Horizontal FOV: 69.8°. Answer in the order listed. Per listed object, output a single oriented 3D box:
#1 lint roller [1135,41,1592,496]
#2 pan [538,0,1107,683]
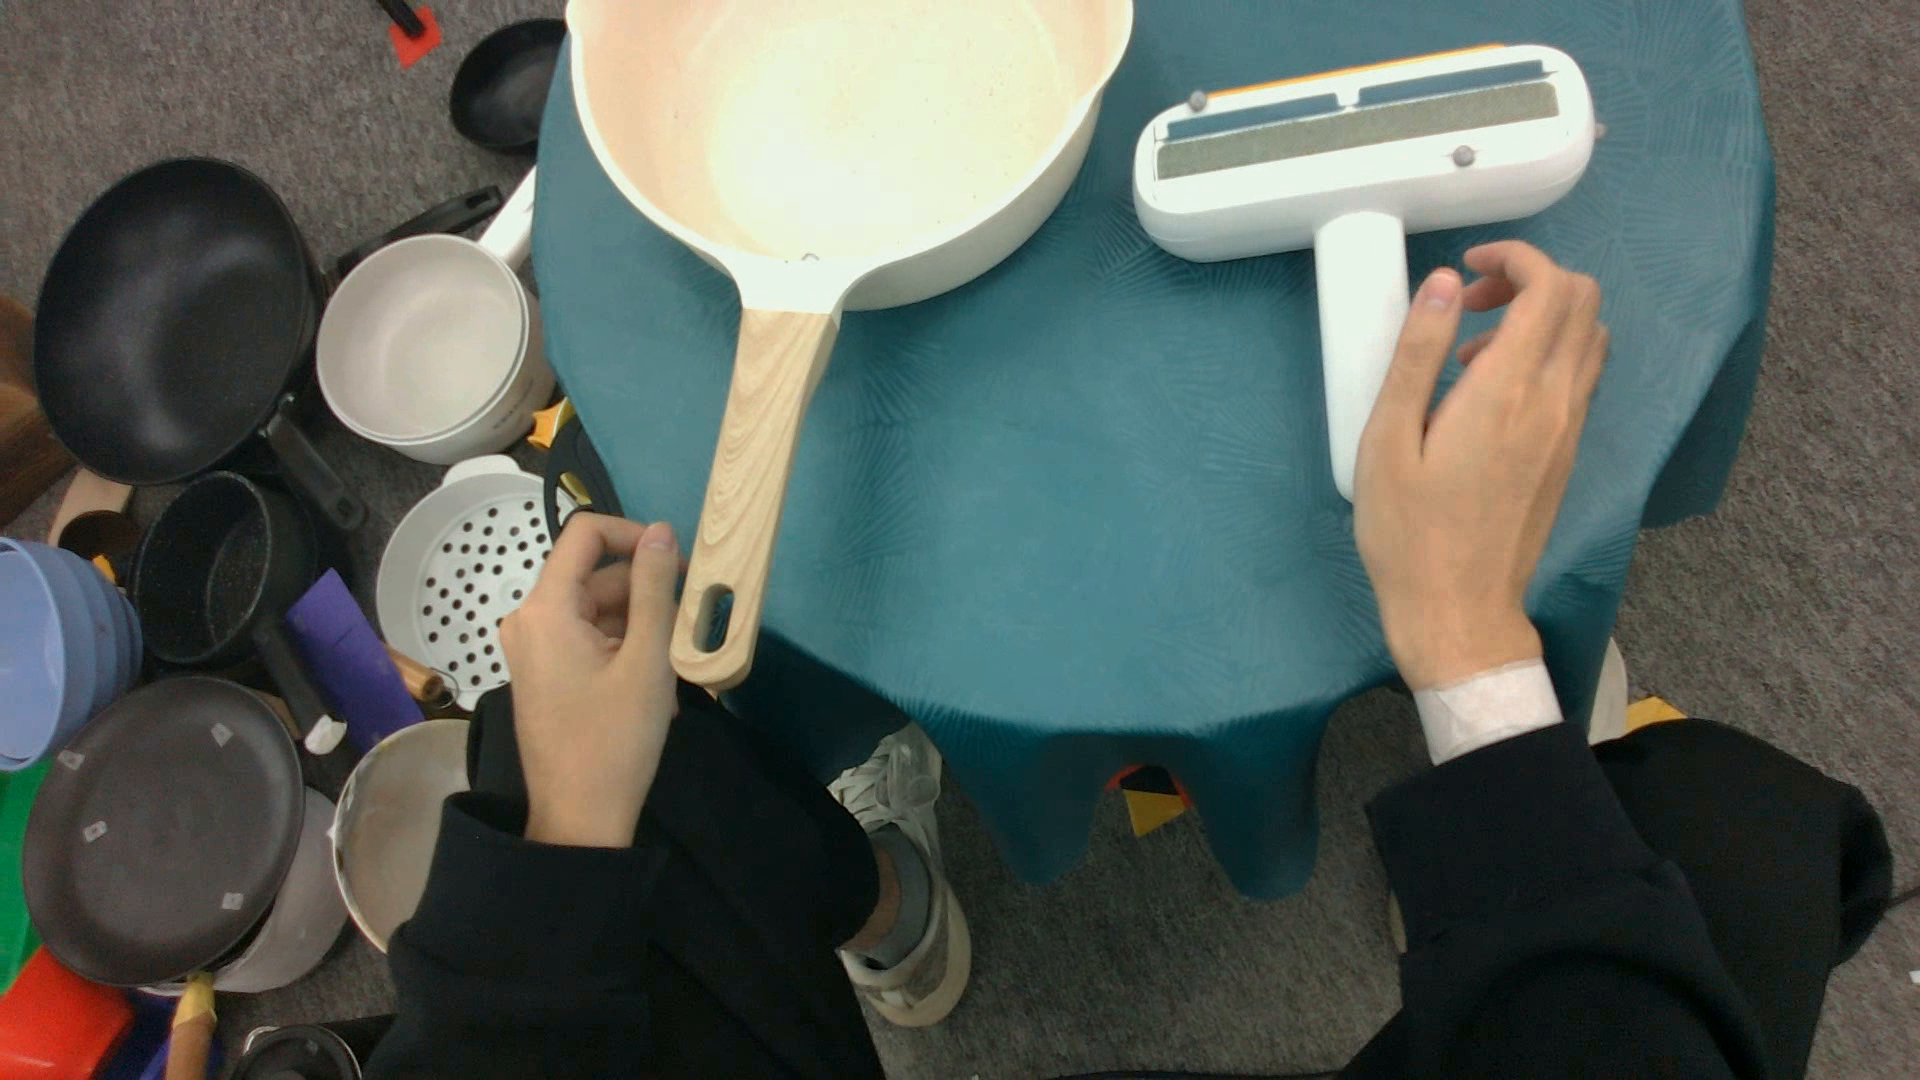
[{"bbox_3d":[0.173,-0.117,0.604,0.192,0.074,0.193,0,76,14],"label":"lint roller"},{"bbox_3d":[-0.073,-0.144,0.629,0.263,0.102,0.436,5,75,7],"label":"pan"}]
